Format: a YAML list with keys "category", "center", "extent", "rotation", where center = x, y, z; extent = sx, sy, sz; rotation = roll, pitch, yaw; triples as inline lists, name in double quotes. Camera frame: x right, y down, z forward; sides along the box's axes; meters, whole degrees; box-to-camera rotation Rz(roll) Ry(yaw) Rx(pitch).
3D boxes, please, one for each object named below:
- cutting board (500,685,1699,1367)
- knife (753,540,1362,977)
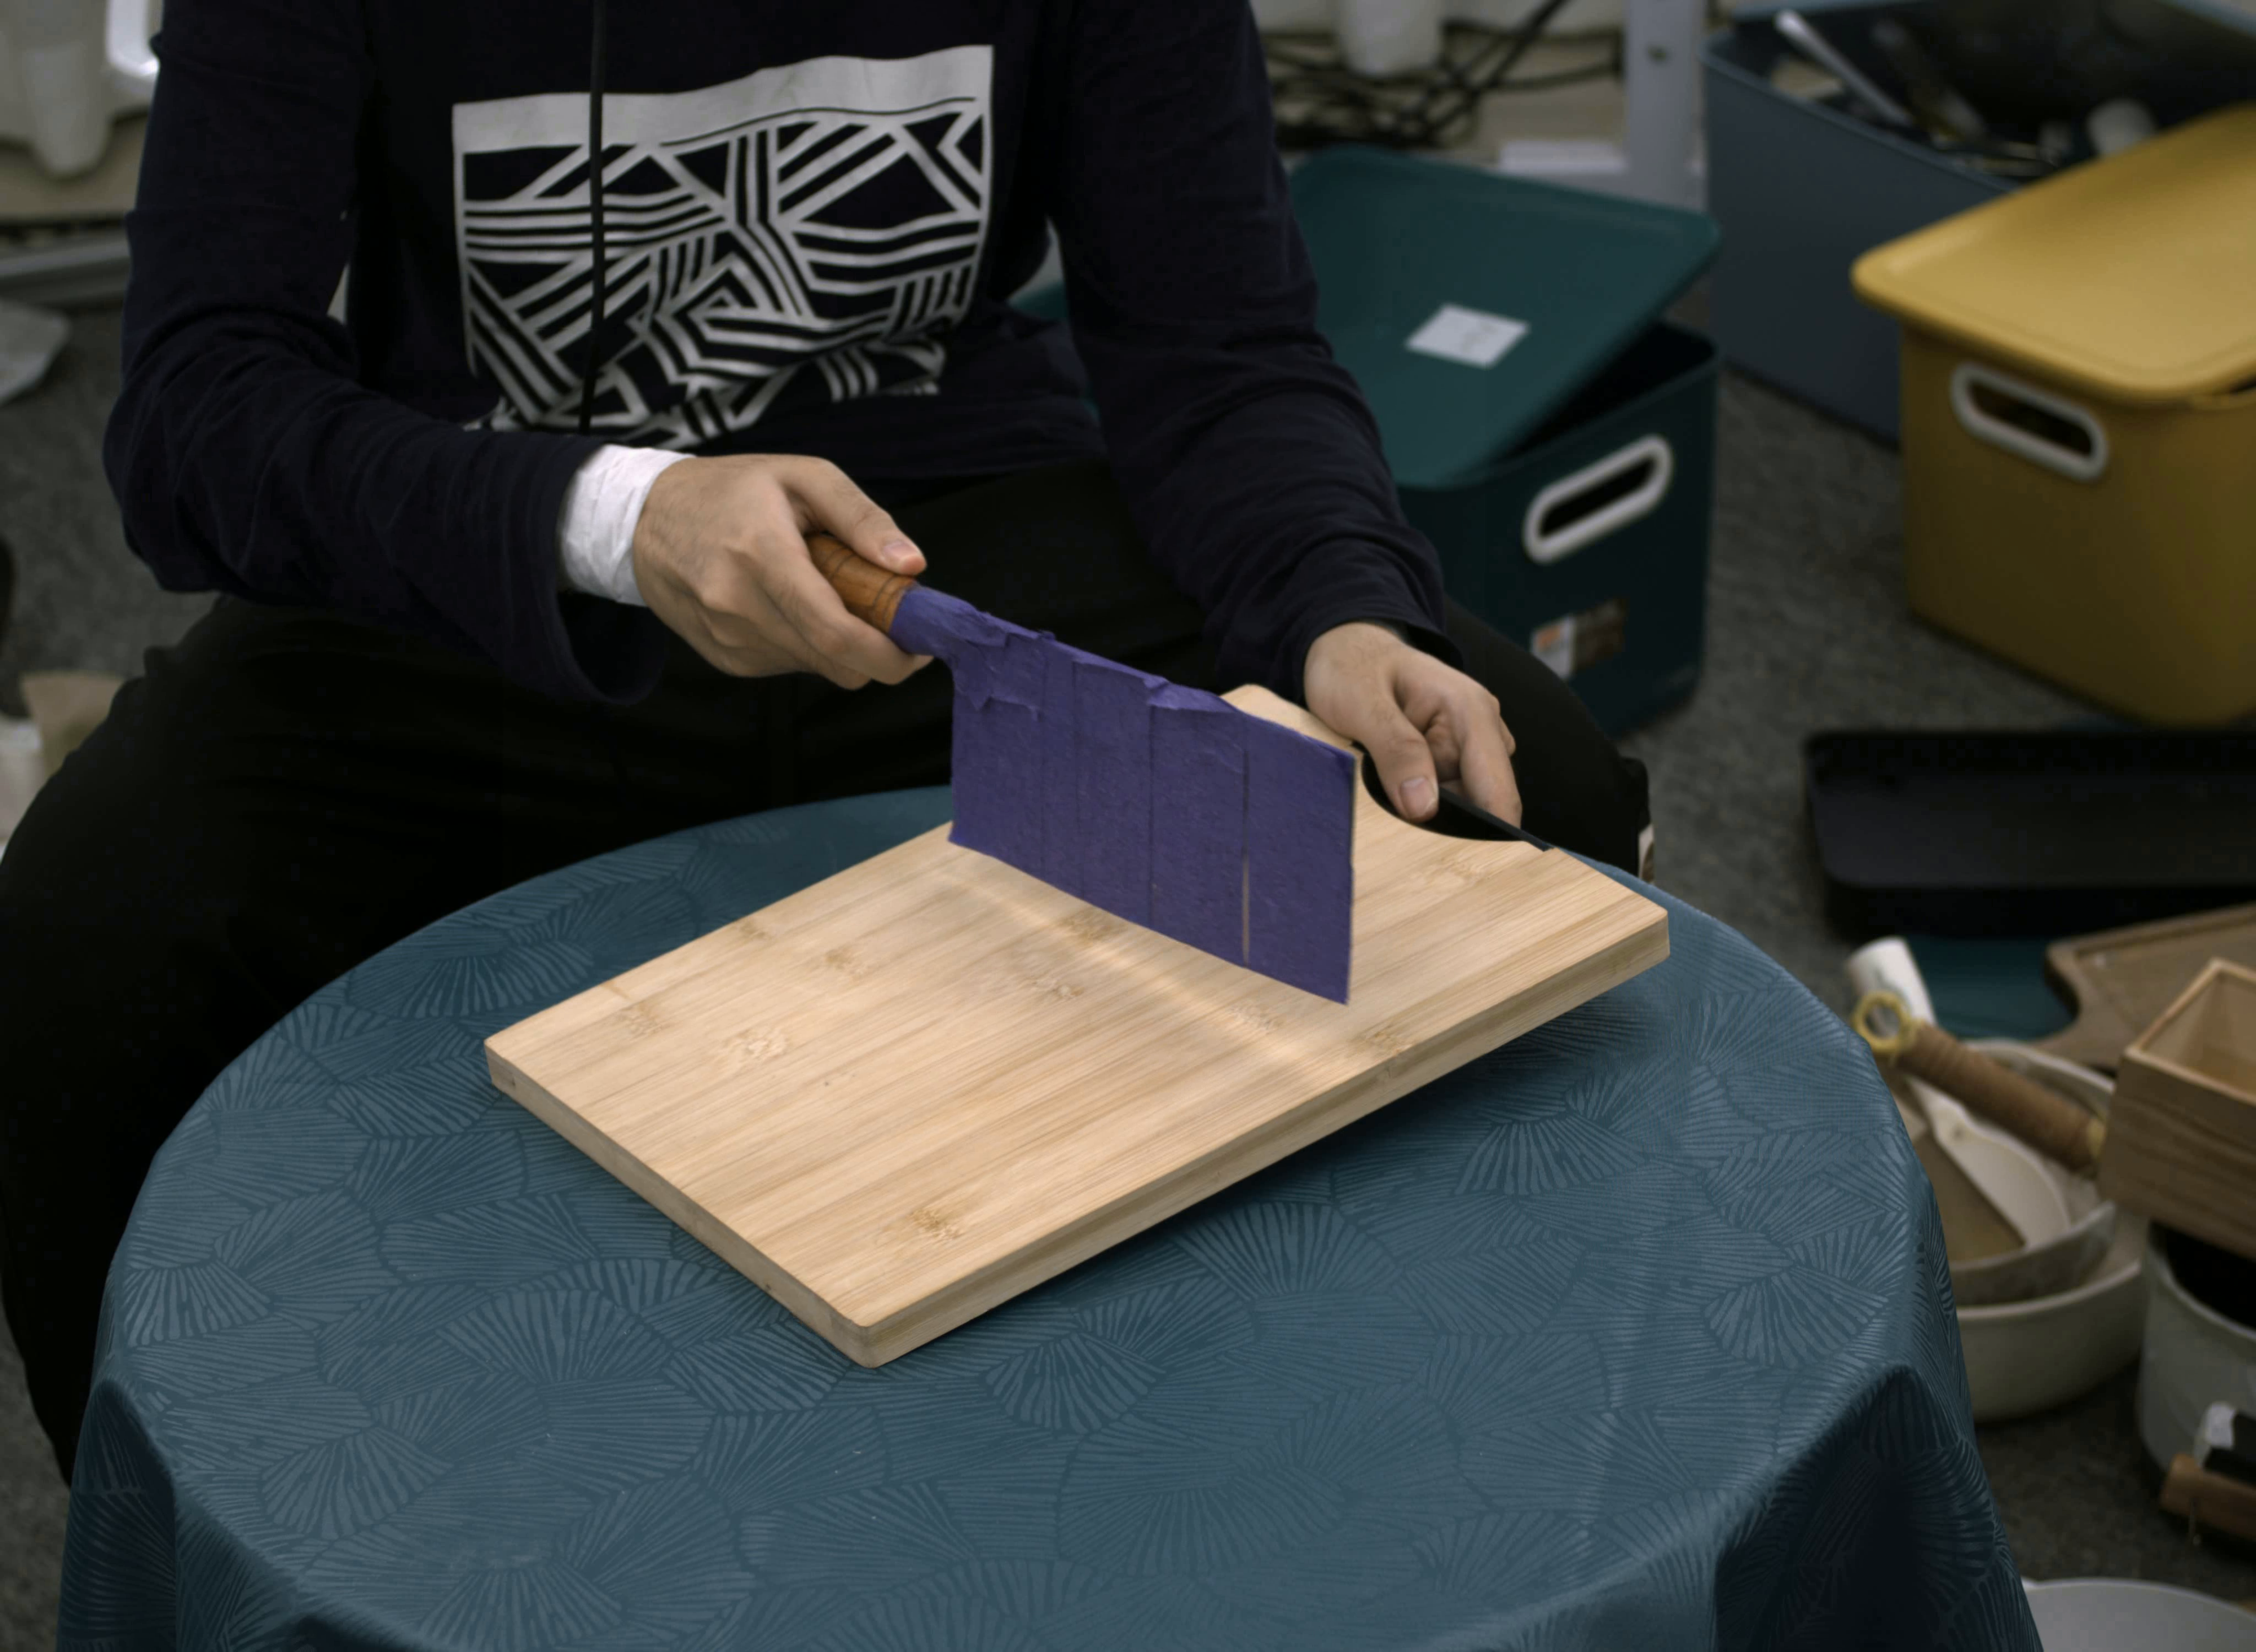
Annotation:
- category: "cutting board"
  center: [-0.013, 0.059, 1.938]
  extent: [0.352, 0.023, 0.251]
  rotation: [-25, 34, -29]
- category: "knife"
  center: [-0.029, -0.023, 1.946]
  extent: [0.032, 0.103, 0.315]
  rotation: [-11, 22, -38]
